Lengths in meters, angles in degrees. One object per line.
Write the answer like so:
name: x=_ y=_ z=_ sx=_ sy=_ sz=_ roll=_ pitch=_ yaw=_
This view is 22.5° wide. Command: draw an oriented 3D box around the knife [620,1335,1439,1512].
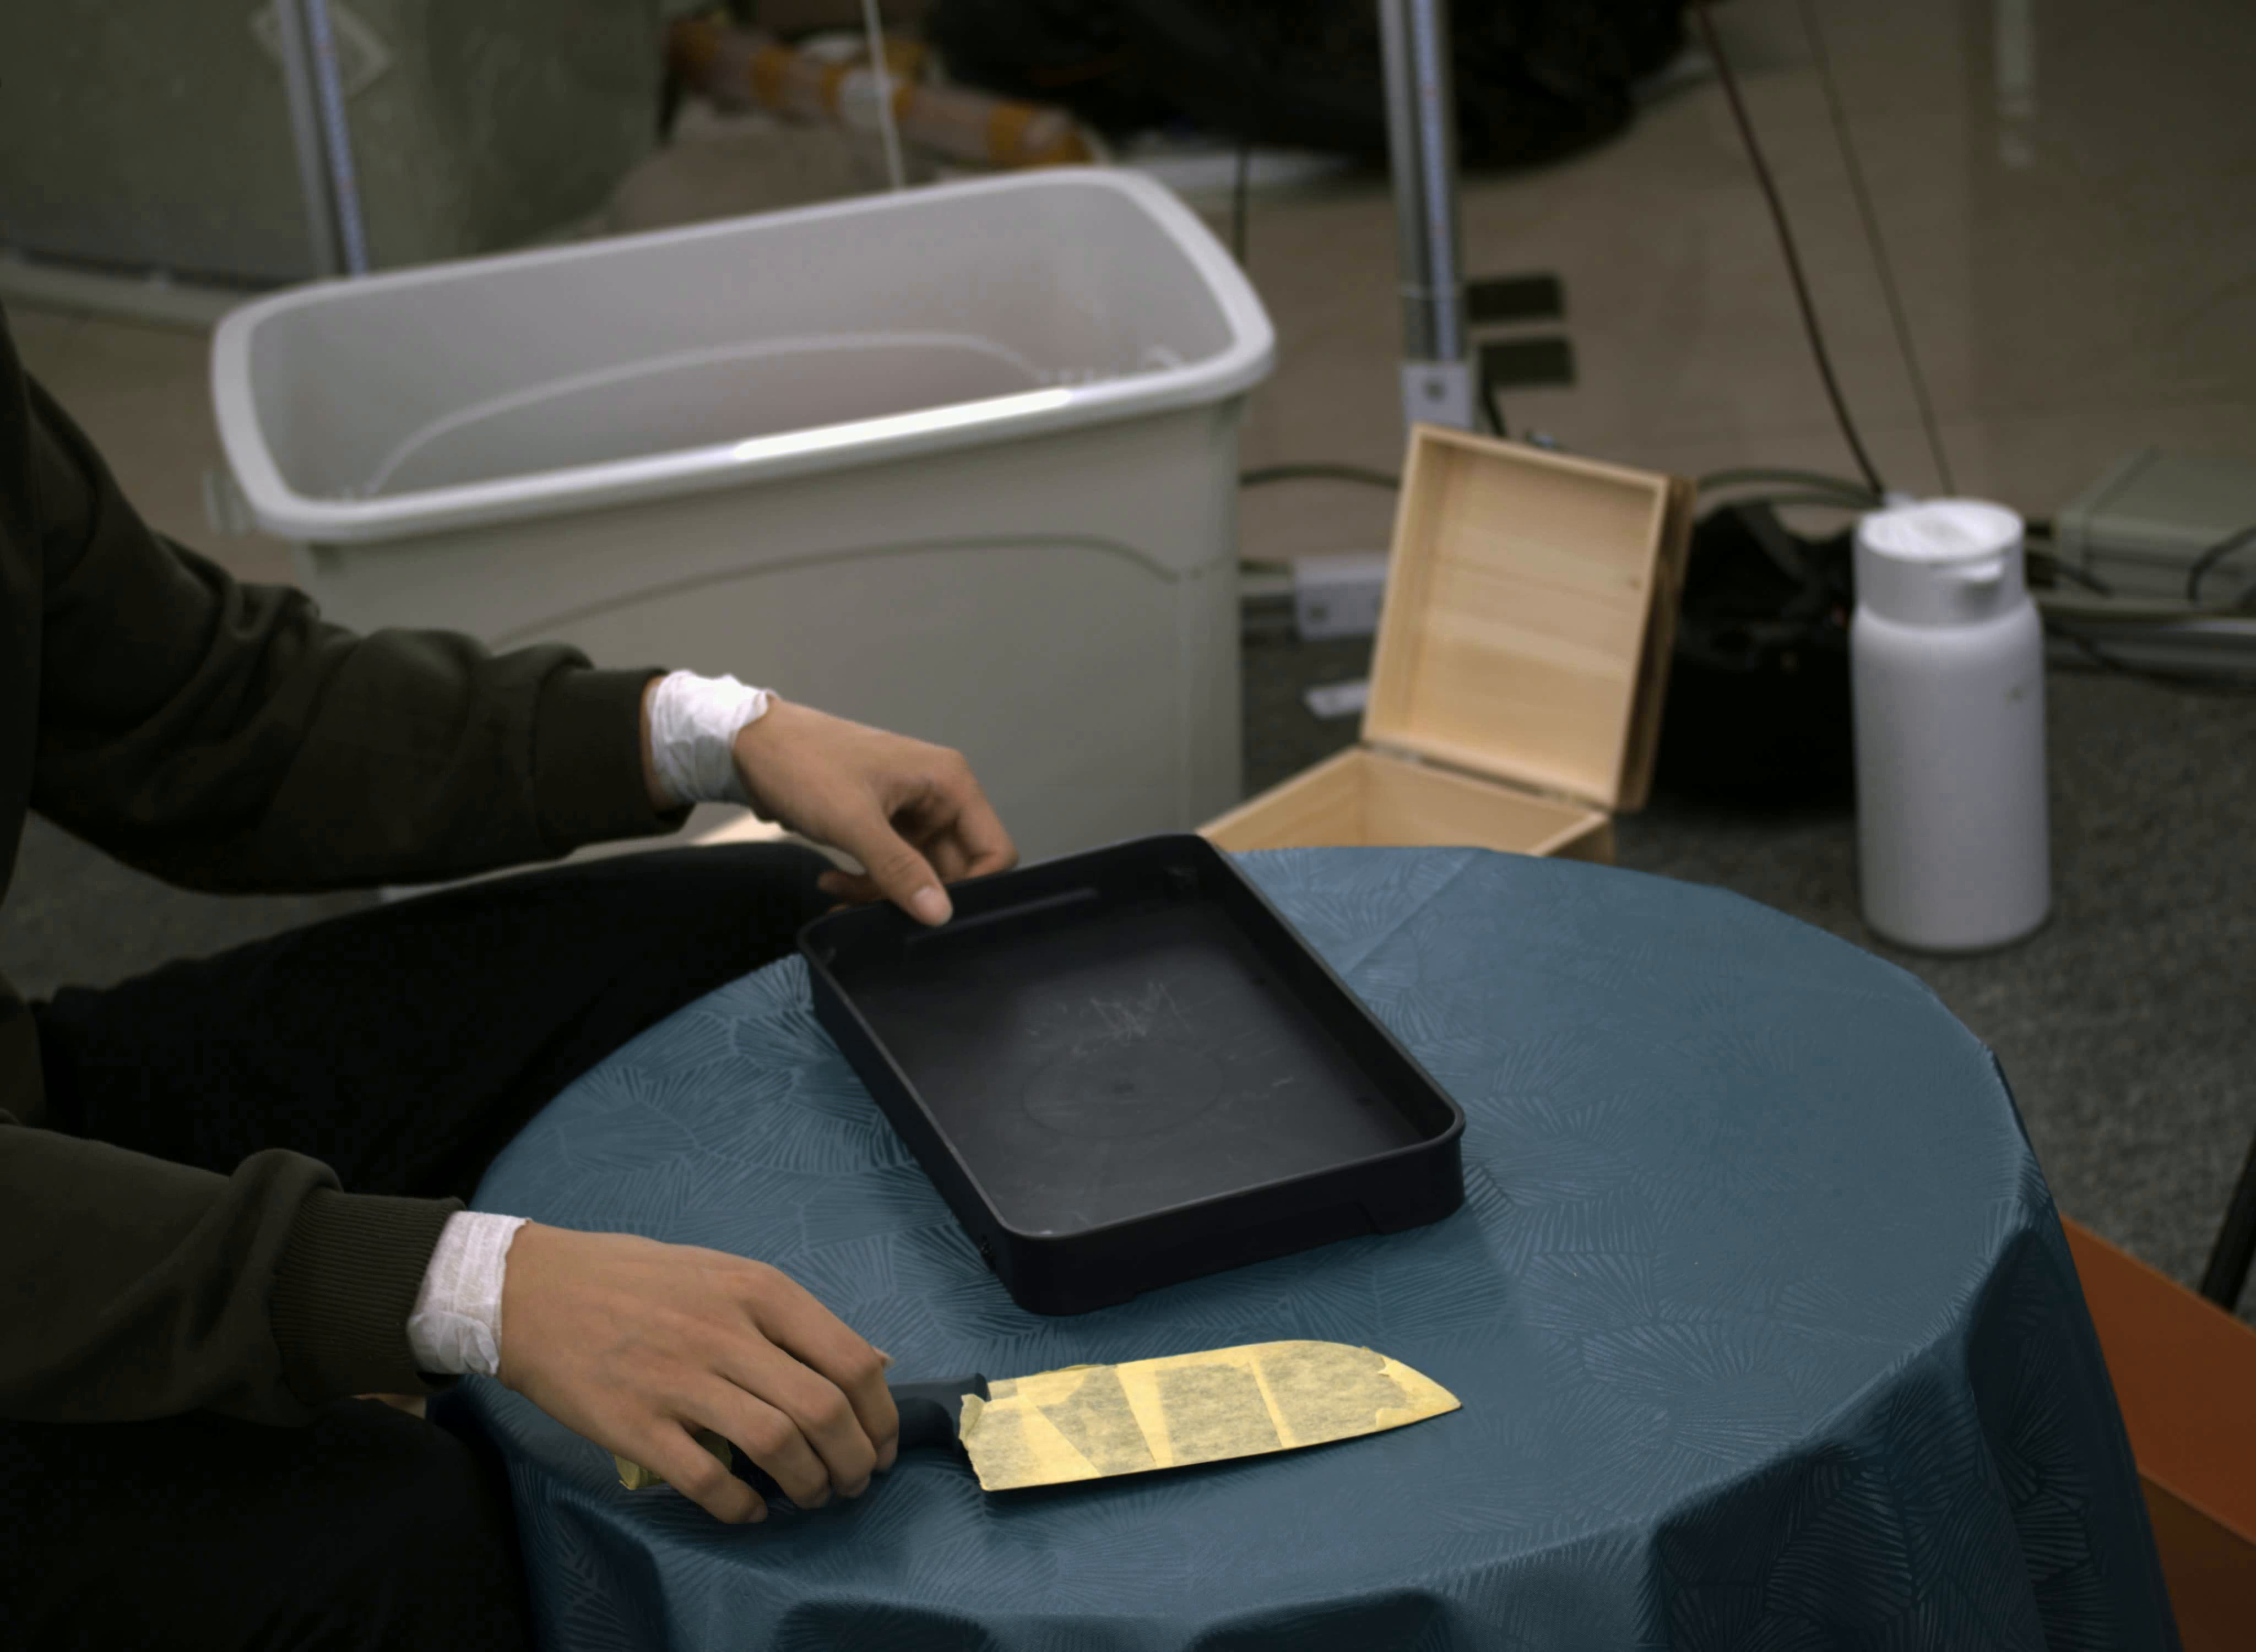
knife: x=-0.033 y=0.212 z=1.985 sx=0.289 sy=0.027 sz=0.080 roll=-8 pitch=23 yaw=-5

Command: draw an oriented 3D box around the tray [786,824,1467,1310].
tray: x=-0.005 y=0.089 z=2.219 sx=0.183 sy=0.037 sz=0.314 roll=-15 pitch=26 yaw=-15
